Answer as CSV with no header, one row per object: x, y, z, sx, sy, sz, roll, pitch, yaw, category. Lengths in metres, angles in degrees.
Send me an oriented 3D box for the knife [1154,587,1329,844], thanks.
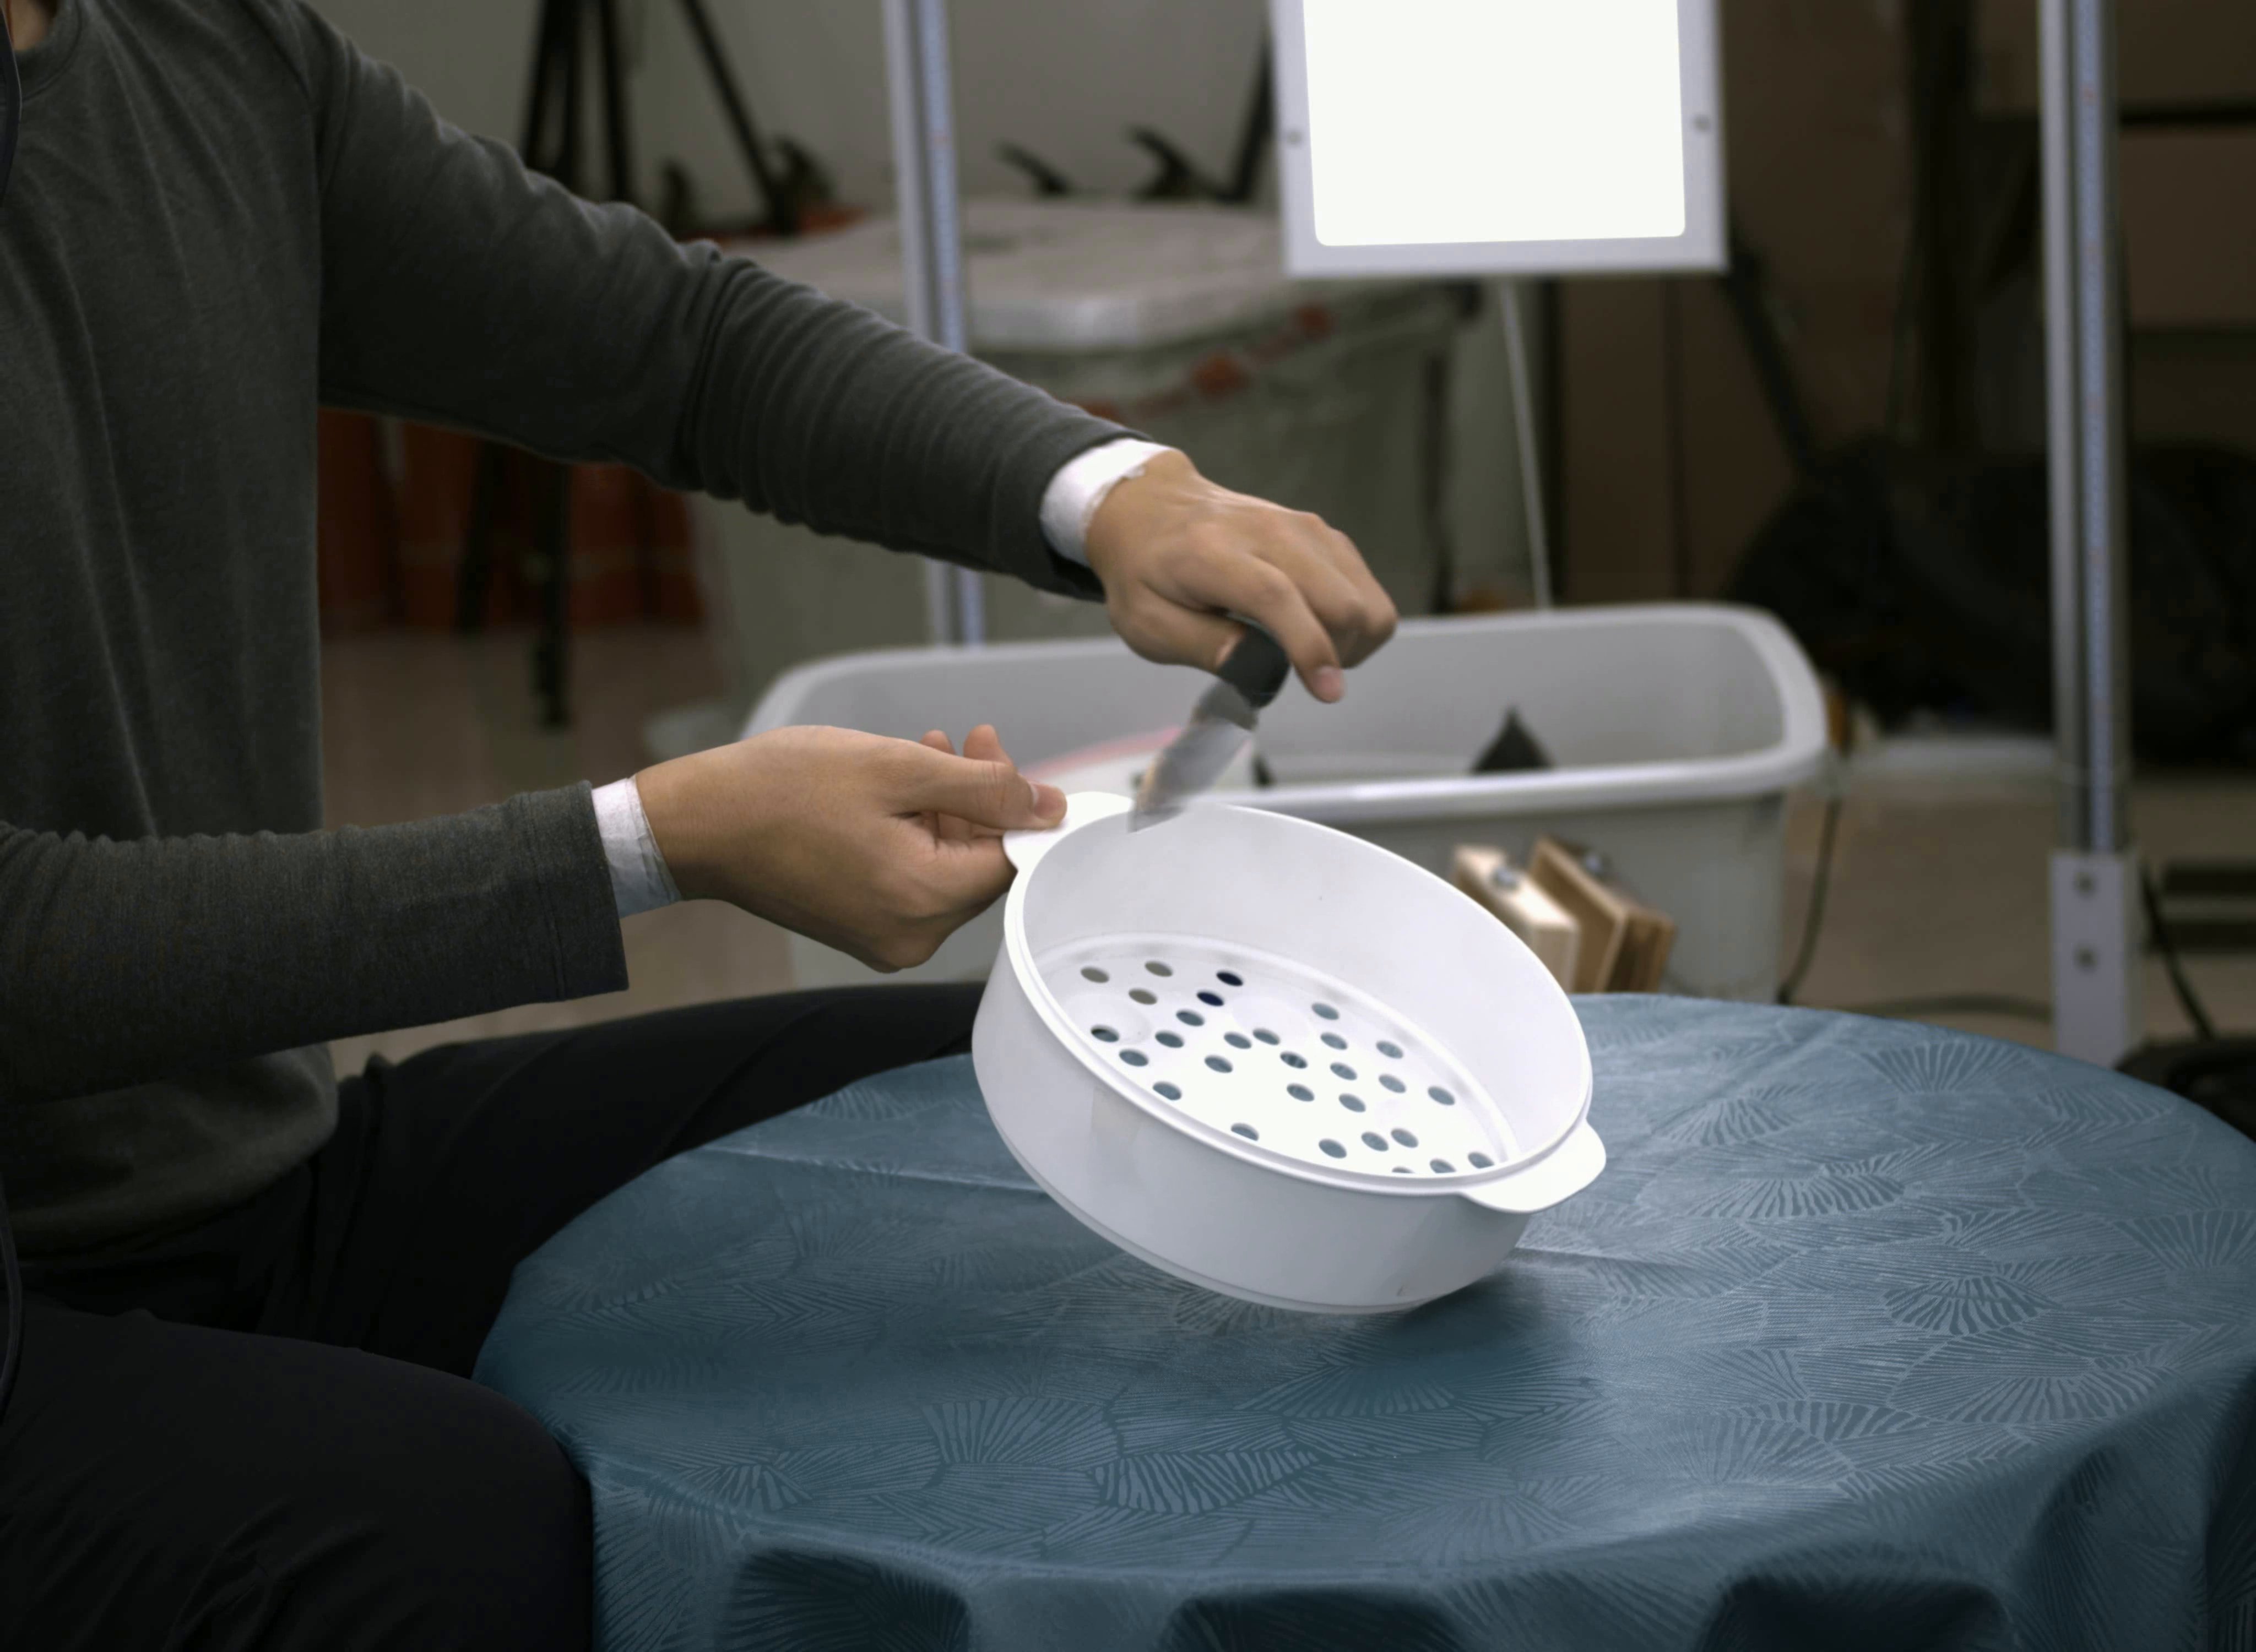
0.035,-0.038,1.851,0.024,0.016,0.235,26,25,4,knife

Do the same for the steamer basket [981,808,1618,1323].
0.051,0.080,1.794,0.233,0.070,0.197,35,35,26,steamer basket
